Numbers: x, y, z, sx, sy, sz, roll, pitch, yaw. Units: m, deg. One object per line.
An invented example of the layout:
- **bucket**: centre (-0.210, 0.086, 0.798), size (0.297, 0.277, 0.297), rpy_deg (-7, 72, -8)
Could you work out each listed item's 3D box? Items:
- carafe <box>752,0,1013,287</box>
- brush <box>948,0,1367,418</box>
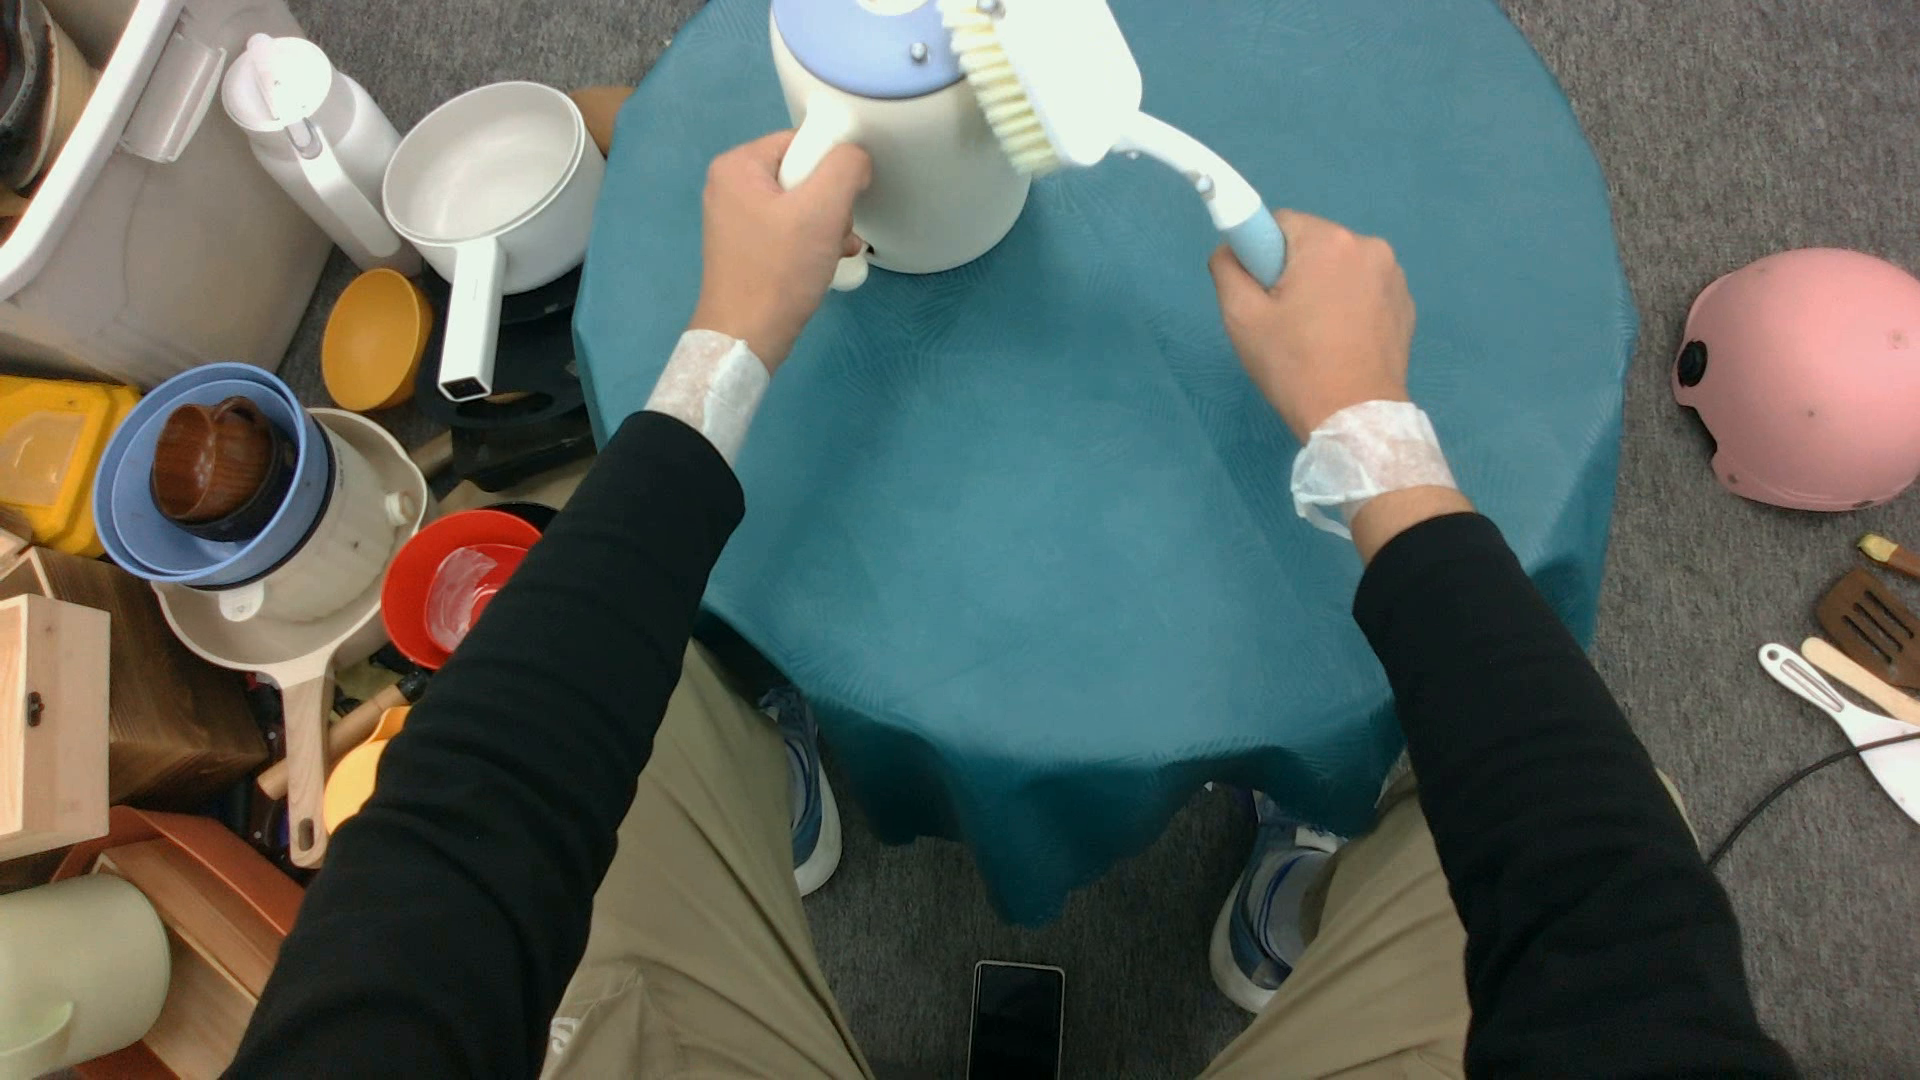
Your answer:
- **carafe**: centre (-0.049, -0.226, 0.735), size (0.132, 0.182, 0.191), rpy_deg (26, 77, 10)
- **brush**: centre (0.091, -0.177, 0.685), size (0.083, 0.085, 0.325), rpy_deg (-35, 117, 12)
